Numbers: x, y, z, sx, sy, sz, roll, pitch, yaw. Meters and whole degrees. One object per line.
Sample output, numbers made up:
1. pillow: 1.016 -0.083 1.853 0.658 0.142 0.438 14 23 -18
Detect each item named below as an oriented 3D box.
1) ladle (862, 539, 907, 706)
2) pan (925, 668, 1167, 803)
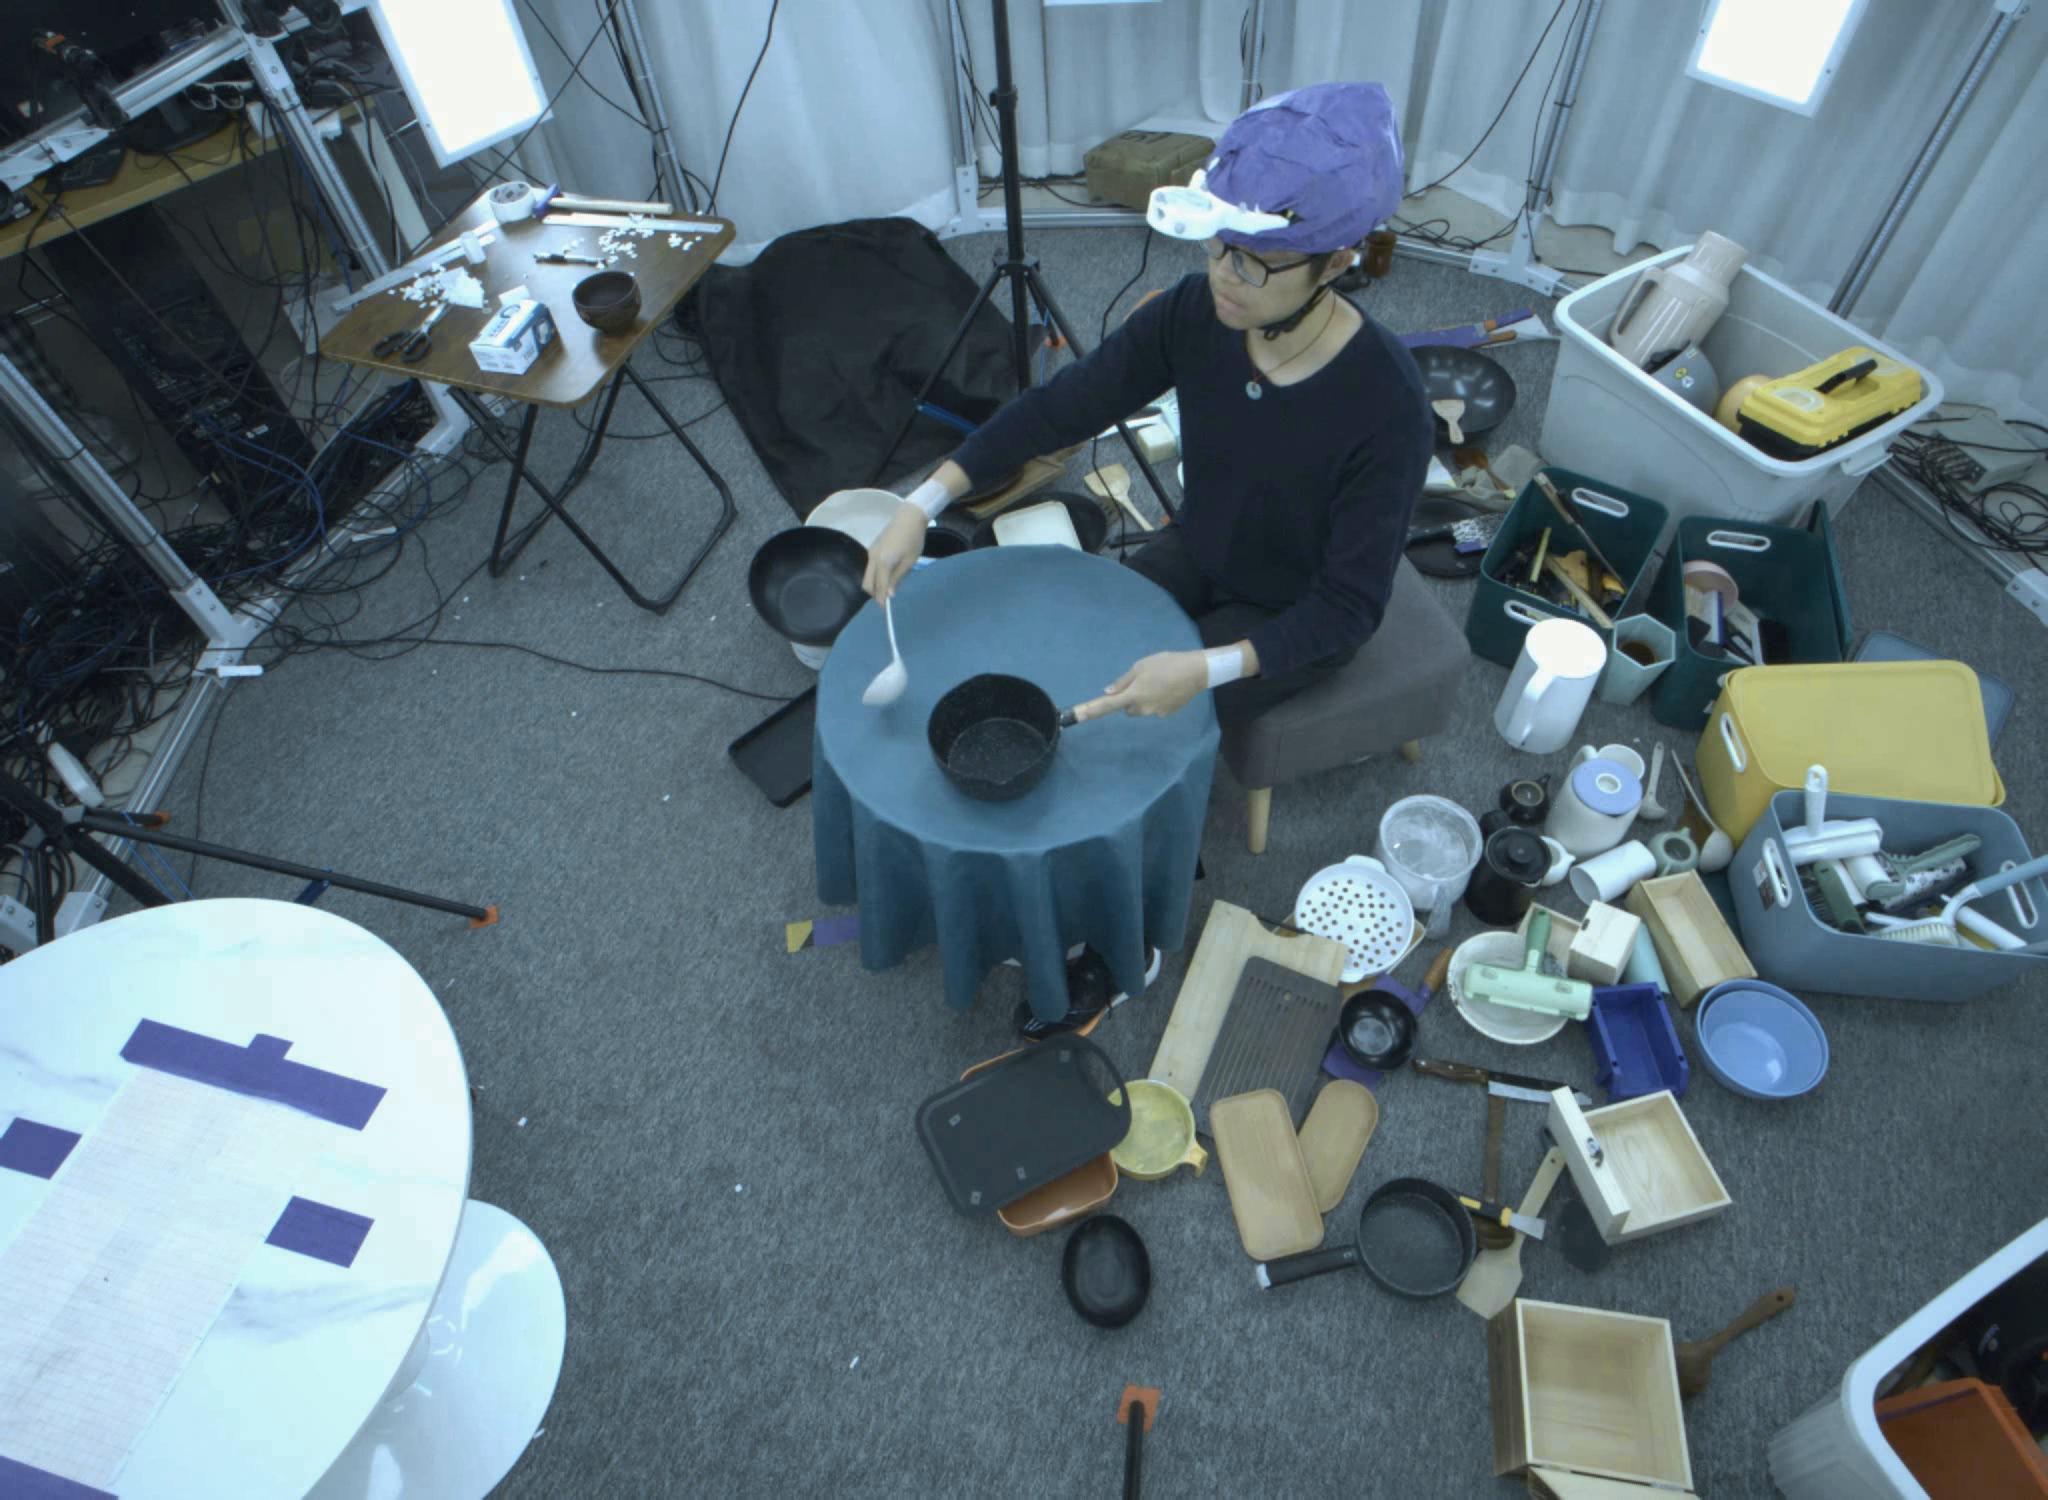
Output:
1. ladle: -0.218 -0.196 1.824 0.070 0.090 0.272 -5 69 -7
2. pan: 0.035 -0.034 1.739 0.343 0.109 0.204 -13 54 -3
